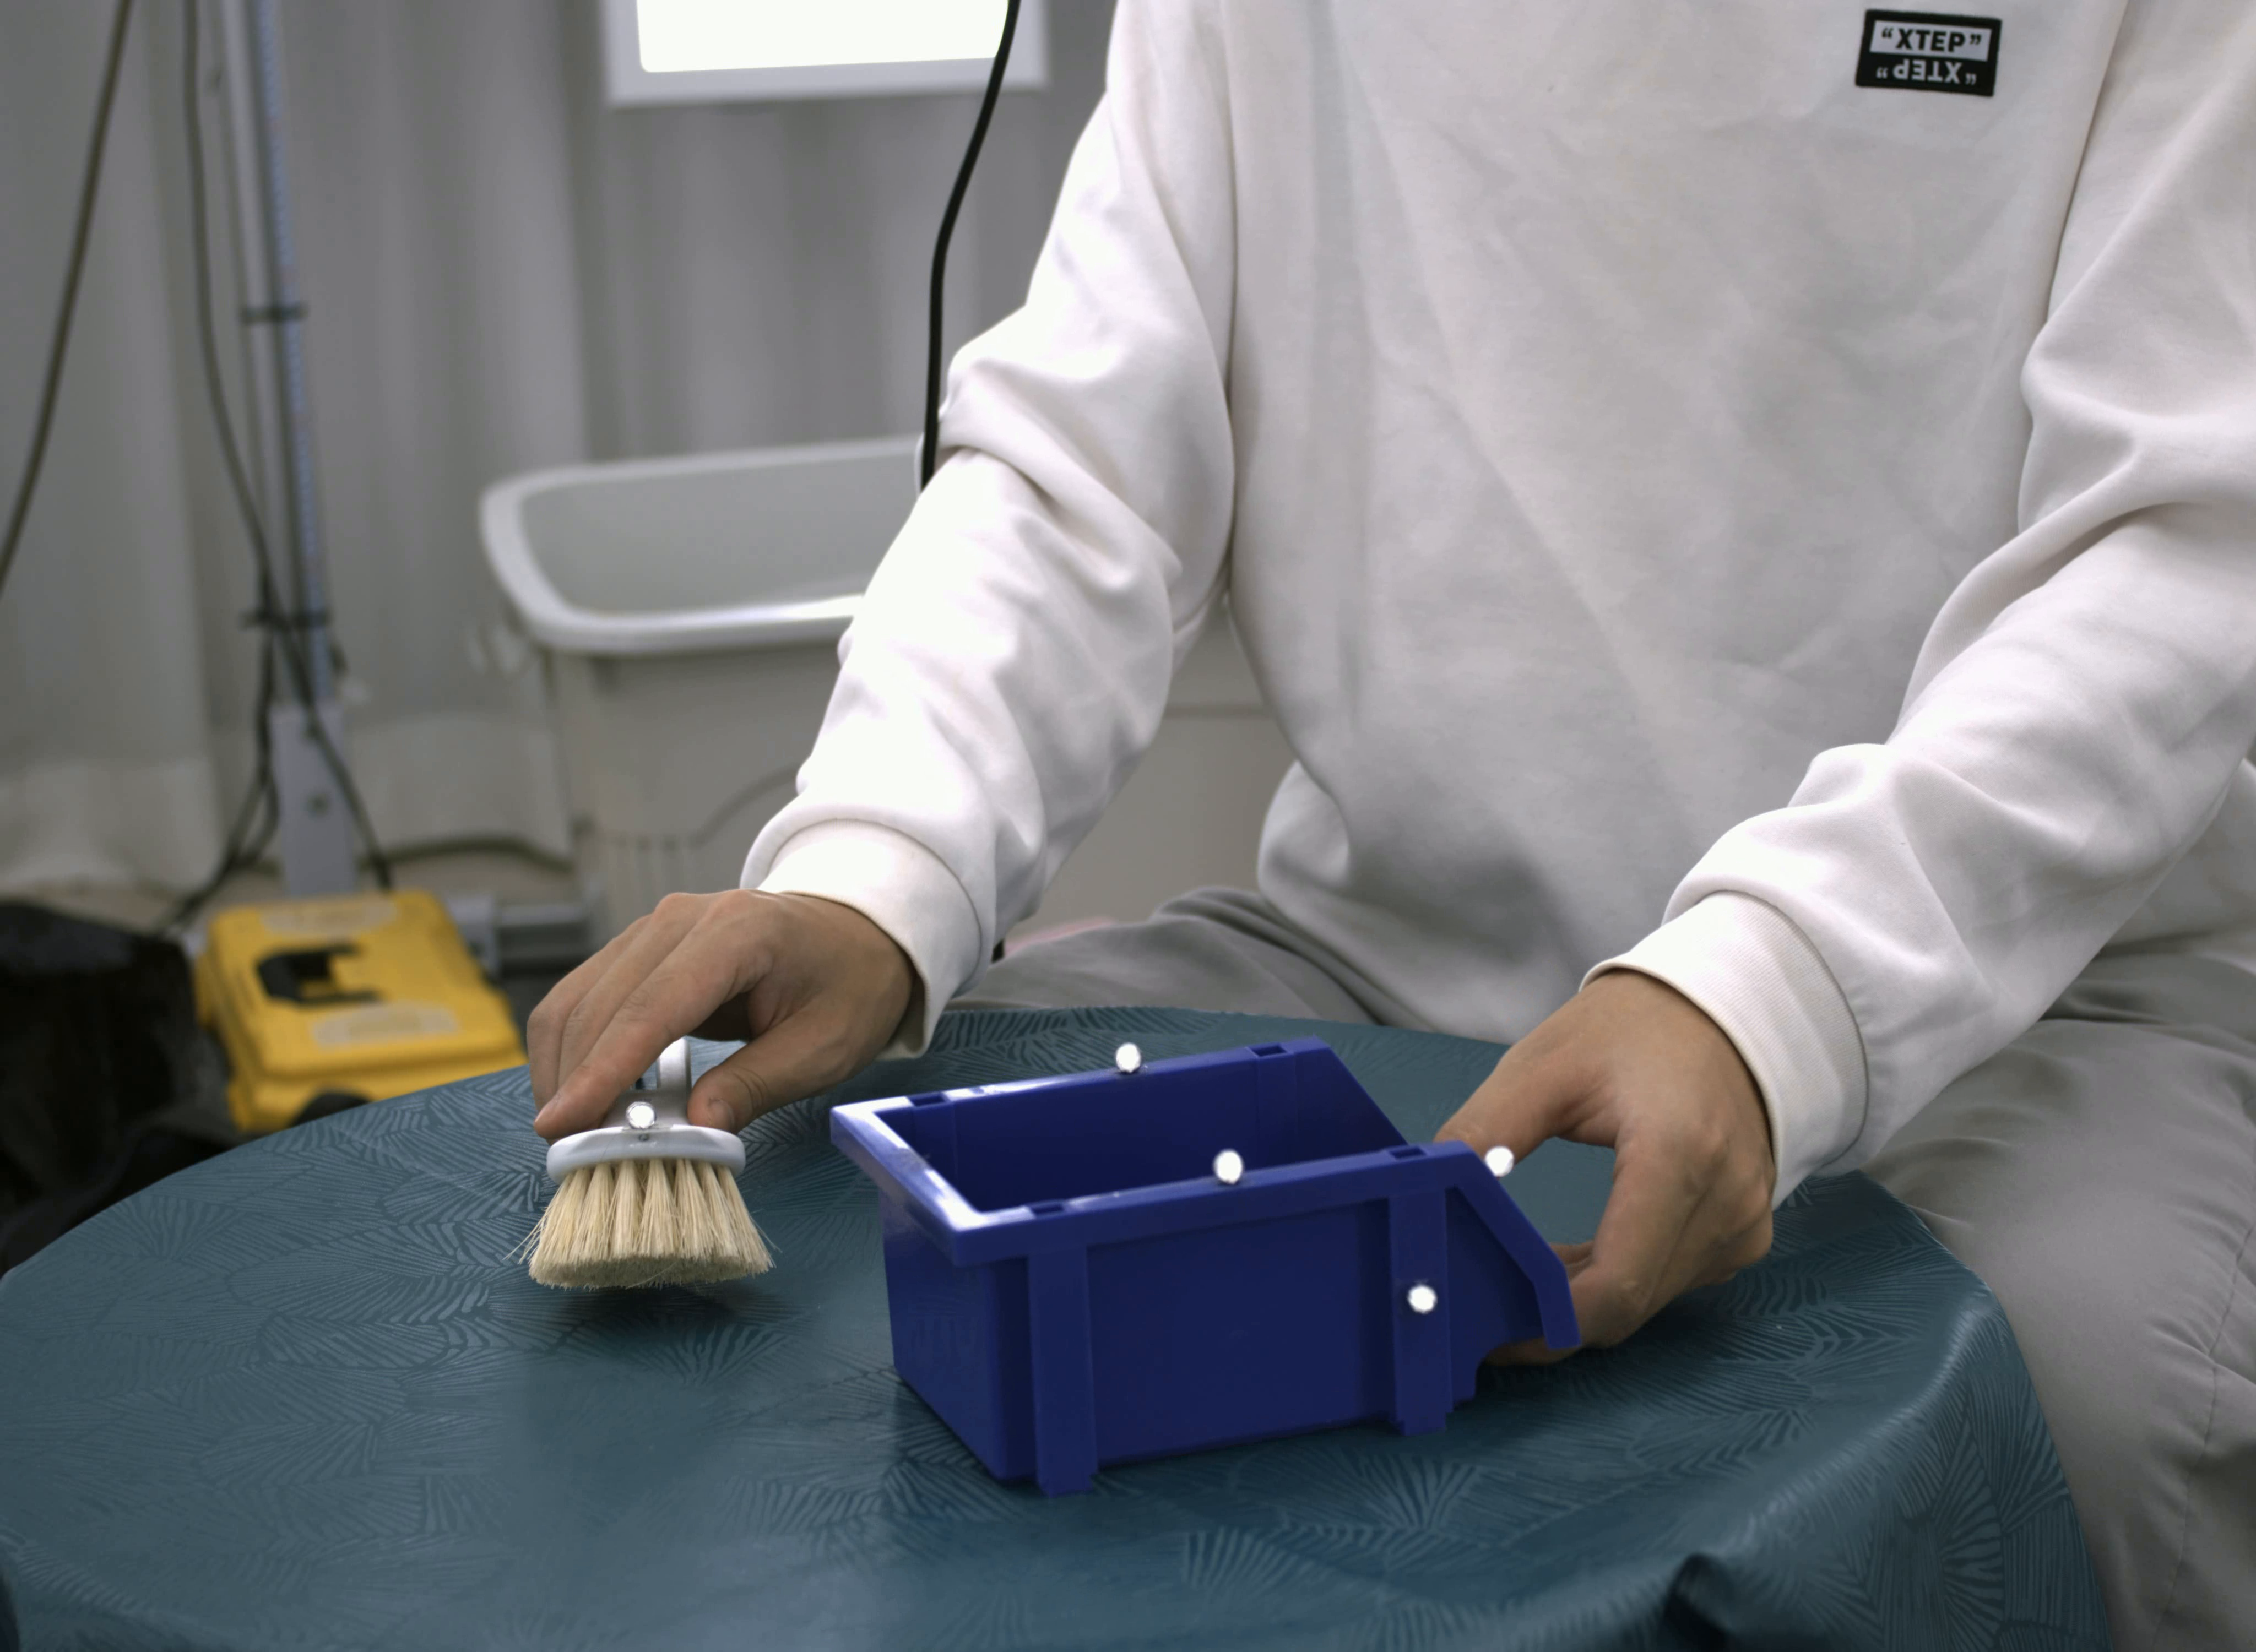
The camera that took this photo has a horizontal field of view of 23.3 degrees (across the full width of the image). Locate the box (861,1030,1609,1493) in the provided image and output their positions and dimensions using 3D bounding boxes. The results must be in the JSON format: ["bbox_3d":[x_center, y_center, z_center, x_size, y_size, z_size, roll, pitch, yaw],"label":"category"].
[{"bbox_3d":[0.029,0.119,1.540,0.178,0.081,0.125,-9,15,-17],"label":"box"}]

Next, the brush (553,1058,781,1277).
[{"bbox_3d":[-0.147,0.107,1.729,0.068,0.056,0.266,5,-1,-7],"label":"brush"}]
